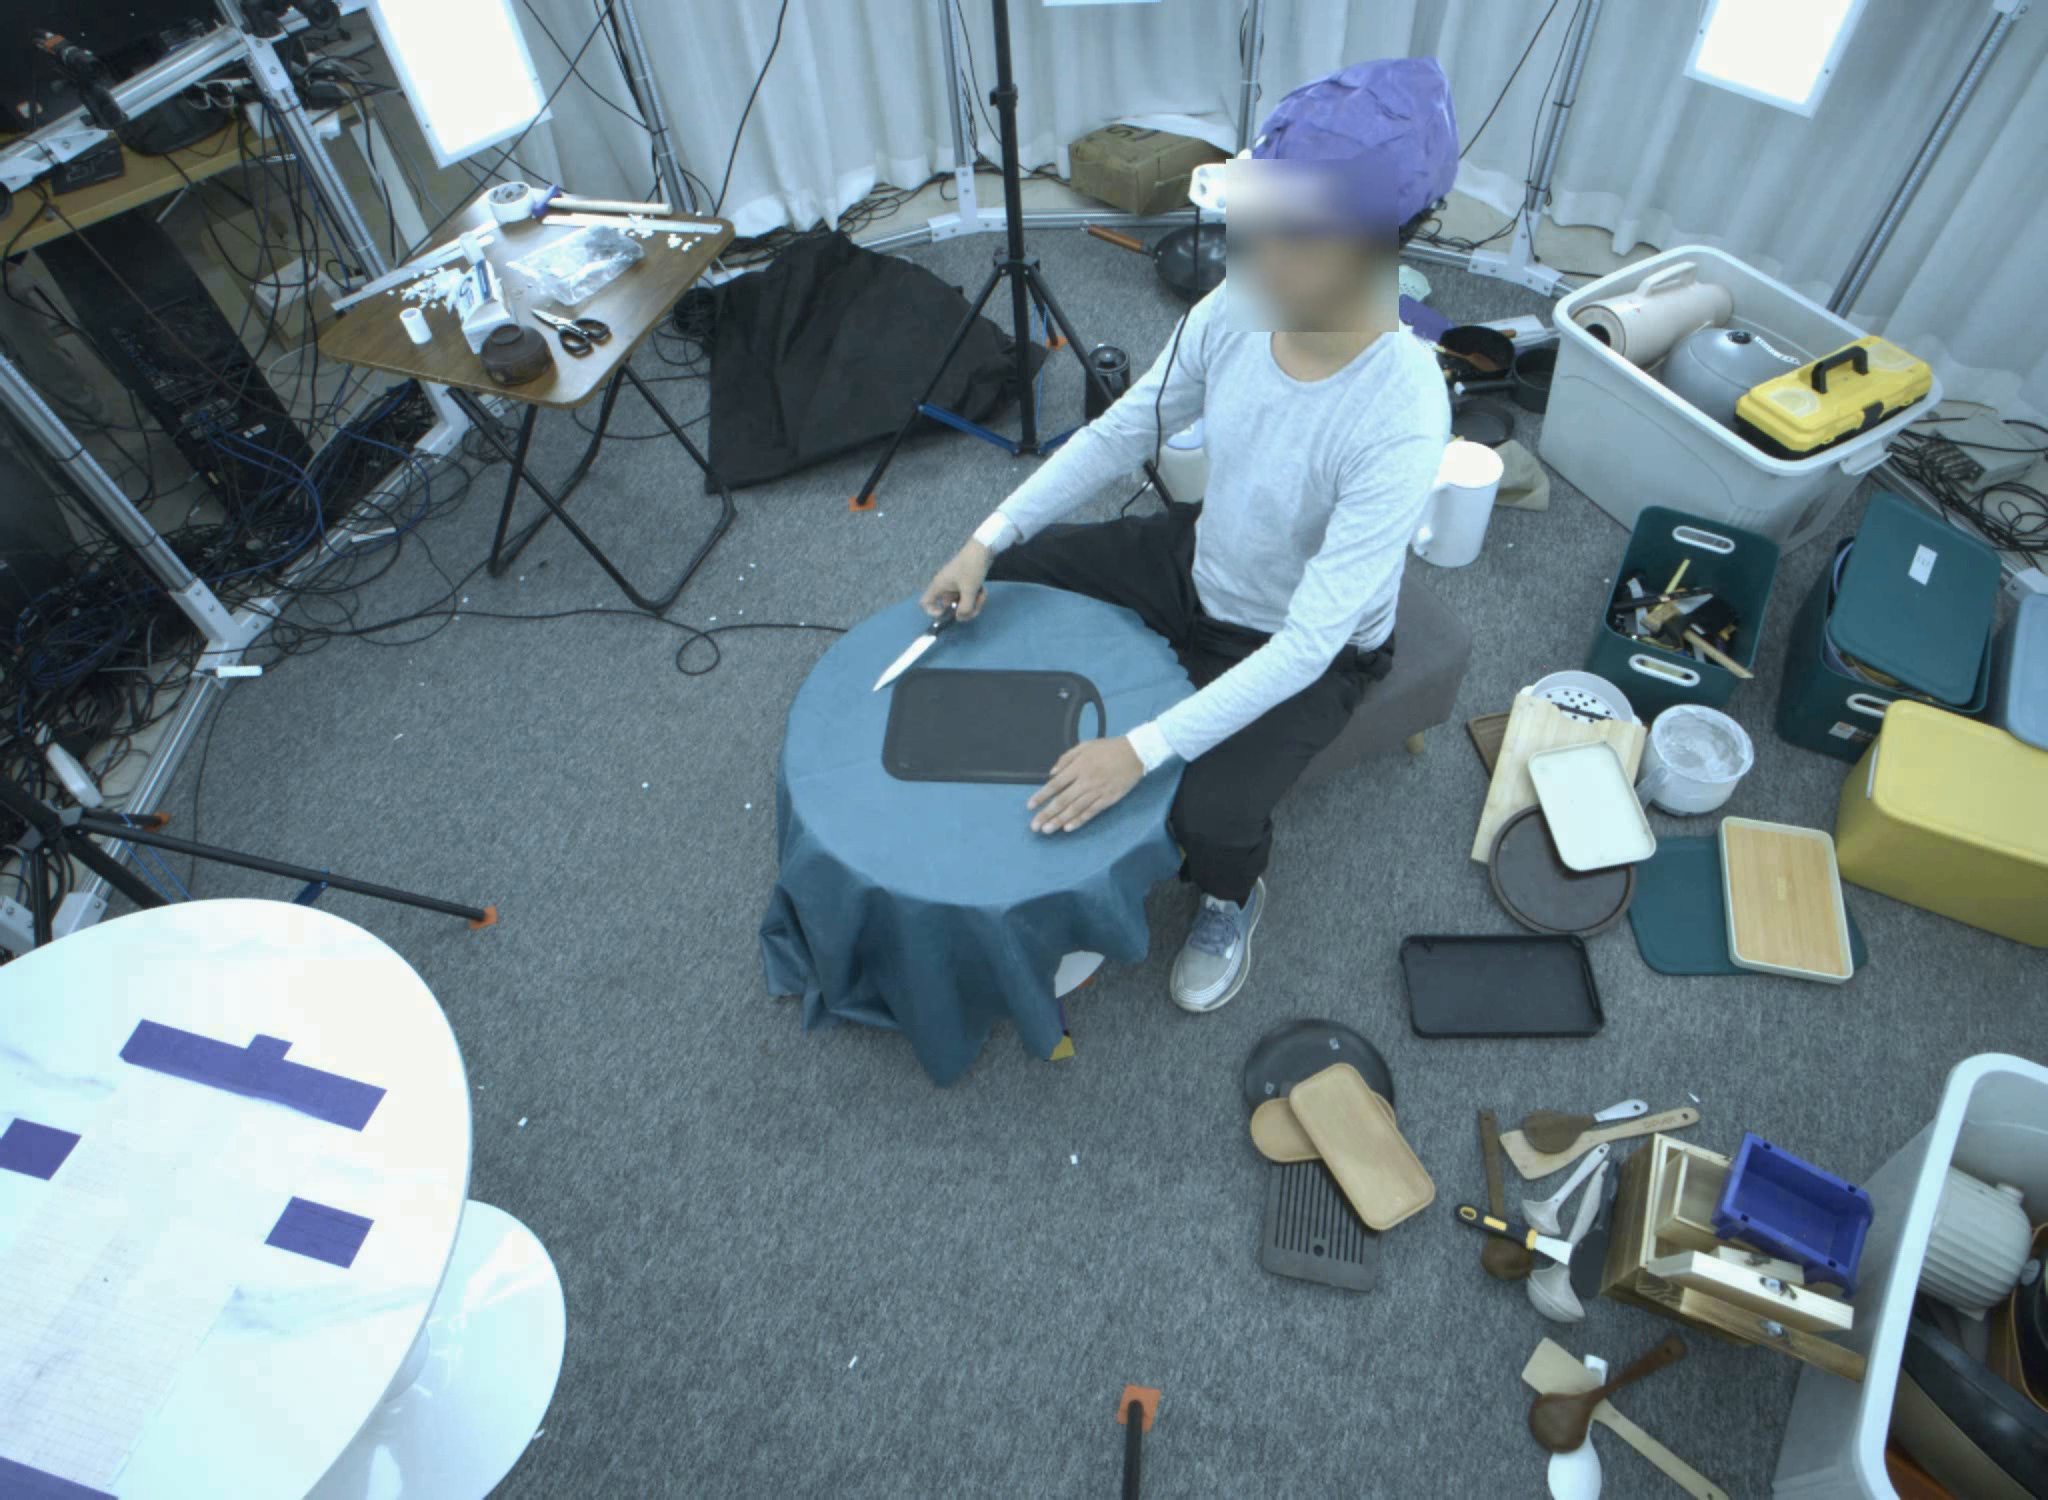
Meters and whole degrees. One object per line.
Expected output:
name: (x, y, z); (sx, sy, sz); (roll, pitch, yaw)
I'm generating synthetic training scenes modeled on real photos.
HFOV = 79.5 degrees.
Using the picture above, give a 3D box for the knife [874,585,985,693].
knife: (-0.149, -0.172, 1.889); (0.024, 0.016, 0.239); (39, 77, 25)

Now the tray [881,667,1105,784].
tray: (-0.042, -0.041, 1.822); (0.325, 0.010, 0.209); (2, 55, 3)
